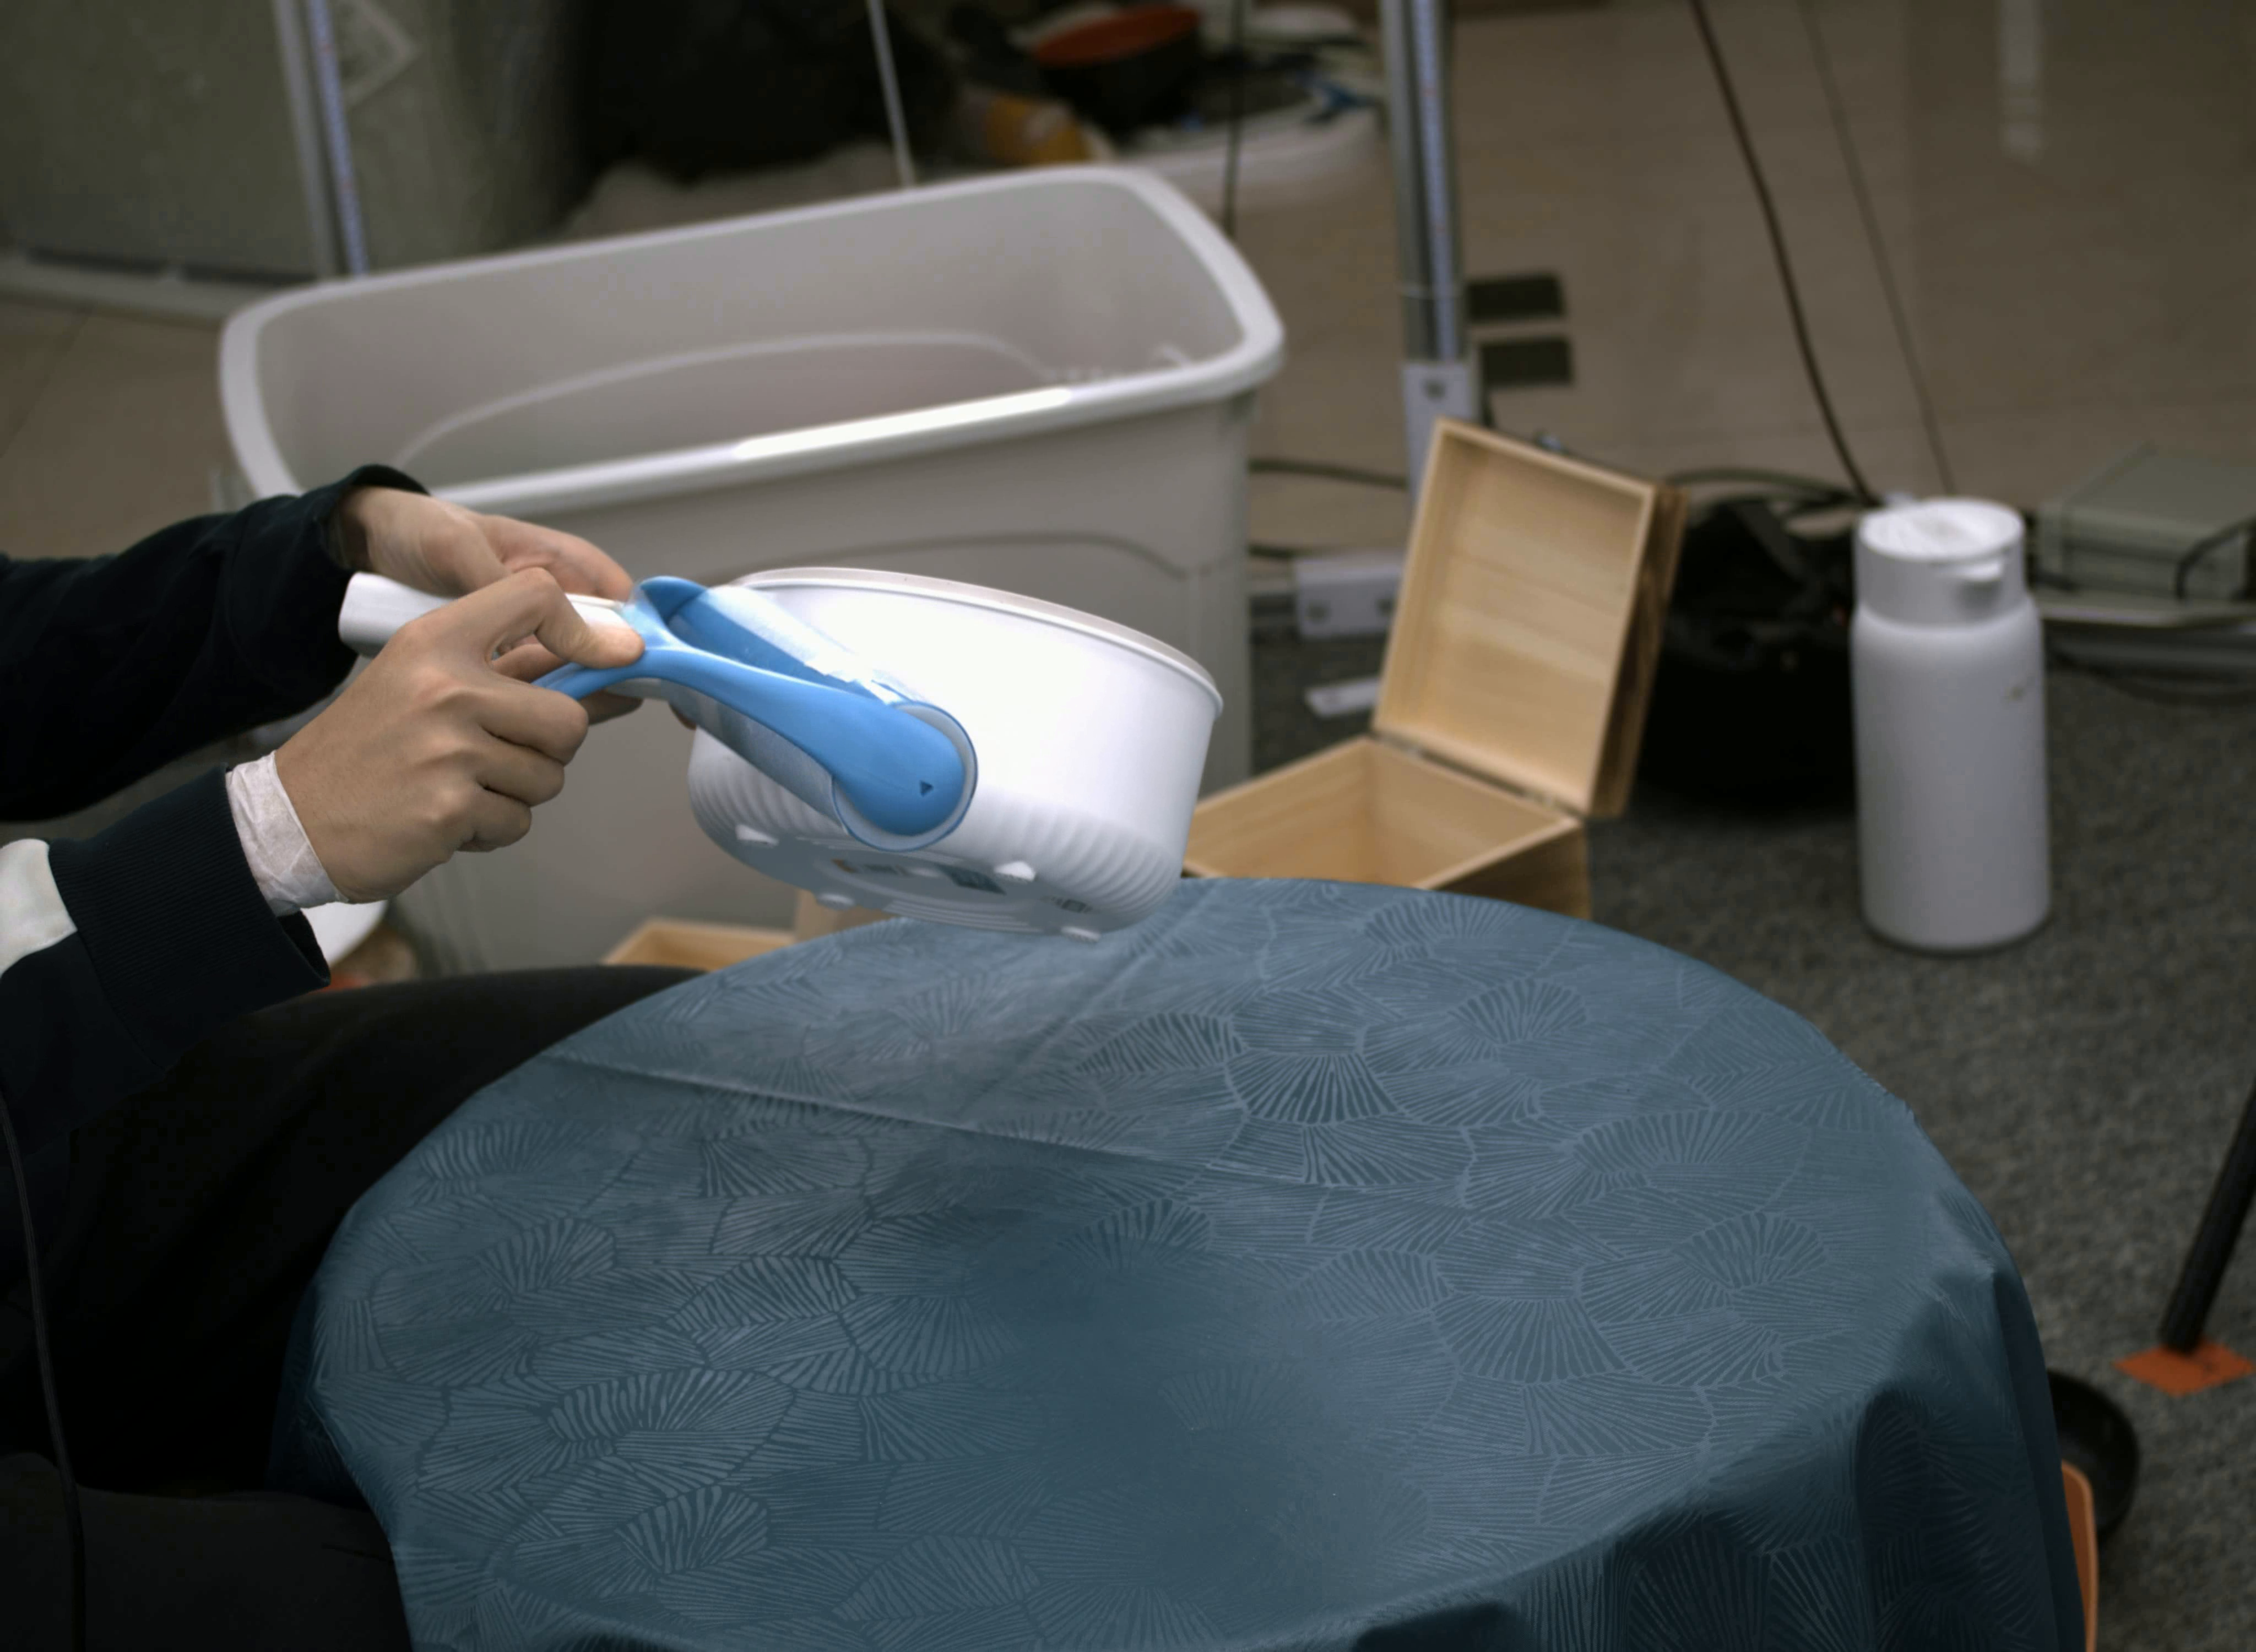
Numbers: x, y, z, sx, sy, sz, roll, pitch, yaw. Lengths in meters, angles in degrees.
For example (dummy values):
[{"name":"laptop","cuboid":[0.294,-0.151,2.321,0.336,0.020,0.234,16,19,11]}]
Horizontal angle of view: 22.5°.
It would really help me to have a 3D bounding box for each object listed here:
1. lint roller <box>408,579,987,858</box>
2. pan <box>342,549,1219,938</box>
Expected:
[{"name":"lint roller","cuboid":[-0.165,-0.033,1.975,0.180,0.069,0.226,-9,19,-25]},{"name":"pan","cuboid":[-0.144,-0.035,2.196,0.353,0.101,0.203,7,-13,17]}]
